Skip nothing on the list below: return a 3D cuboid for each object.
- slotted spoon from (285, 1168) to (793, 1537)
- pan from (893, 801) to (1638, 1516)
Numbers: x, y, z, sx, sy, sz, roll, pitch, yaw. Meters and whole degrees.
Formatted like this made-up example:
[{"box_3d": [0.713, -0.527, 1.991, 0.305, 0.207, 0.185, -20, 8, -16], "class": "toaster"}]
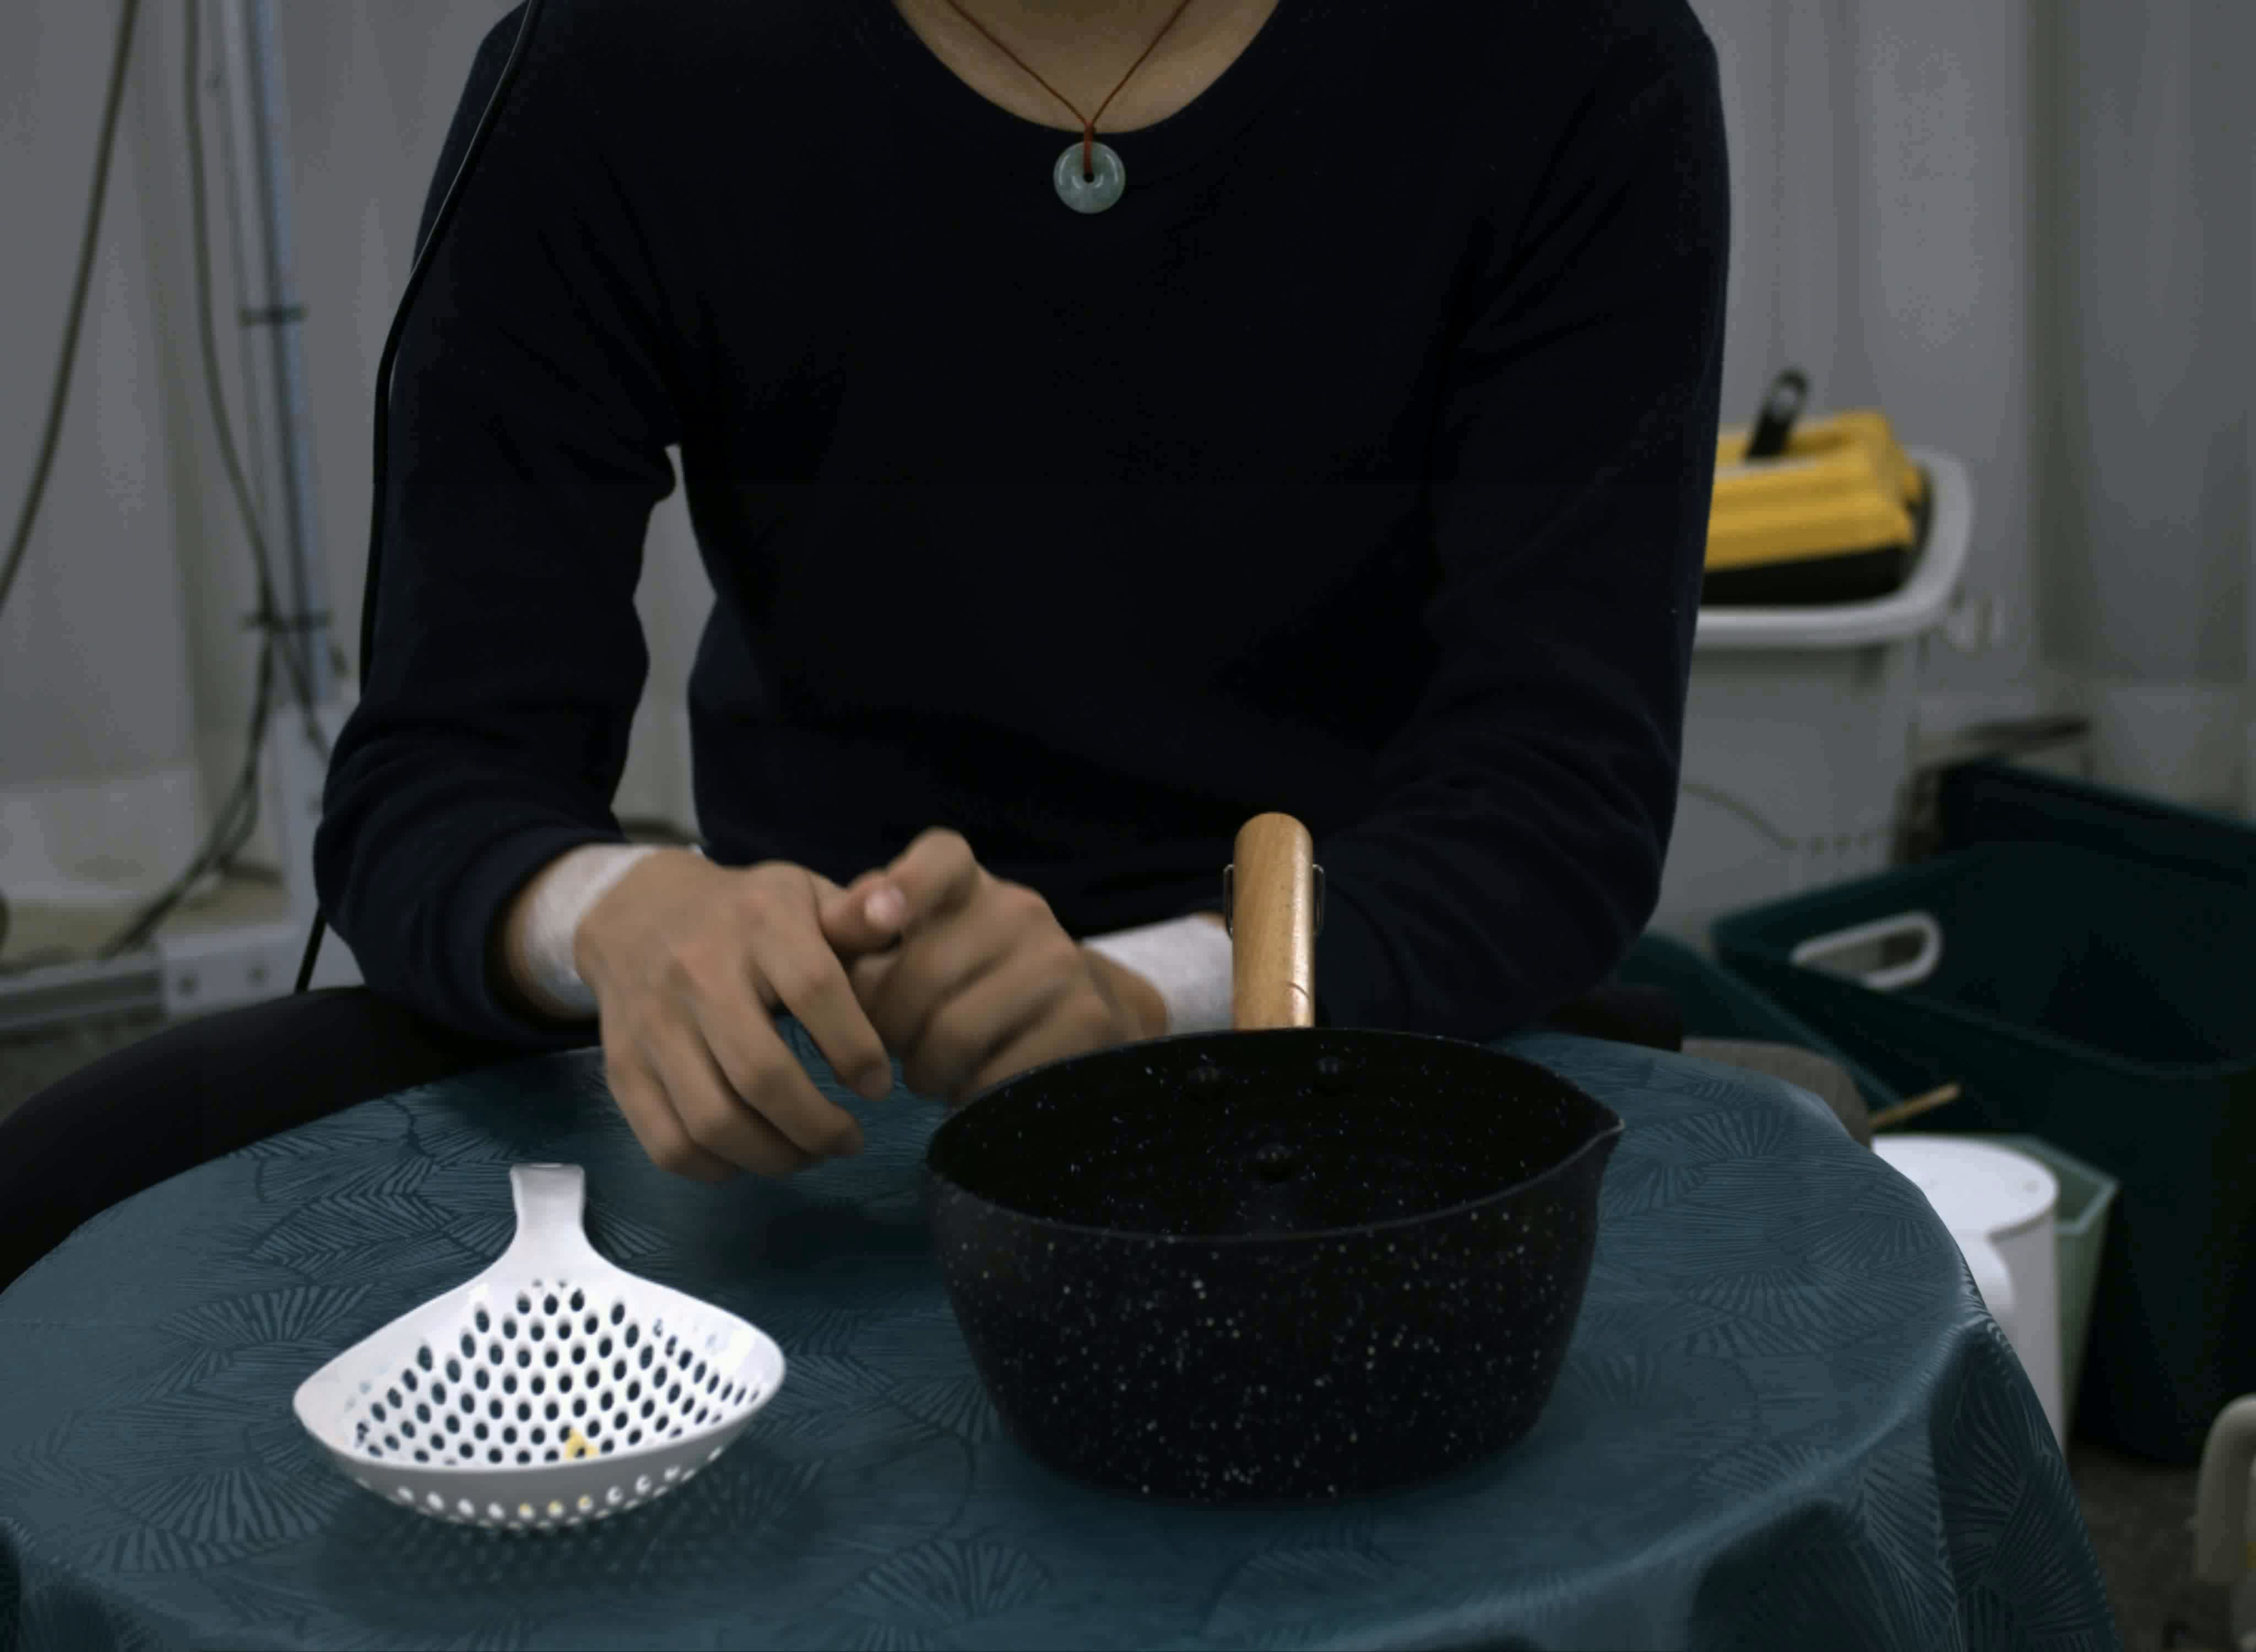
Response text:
[{"box_3d": [-0.170, 0.137, 1.582, 0.136, 0.050, 0.351, -6, 17, -5], "class": "slotted spoon"}, {"box_3d": [0.041, 0.091, 1.589, 0.207, 0.108, 0.345, -4, 16, 3], "class": "pan"}]
